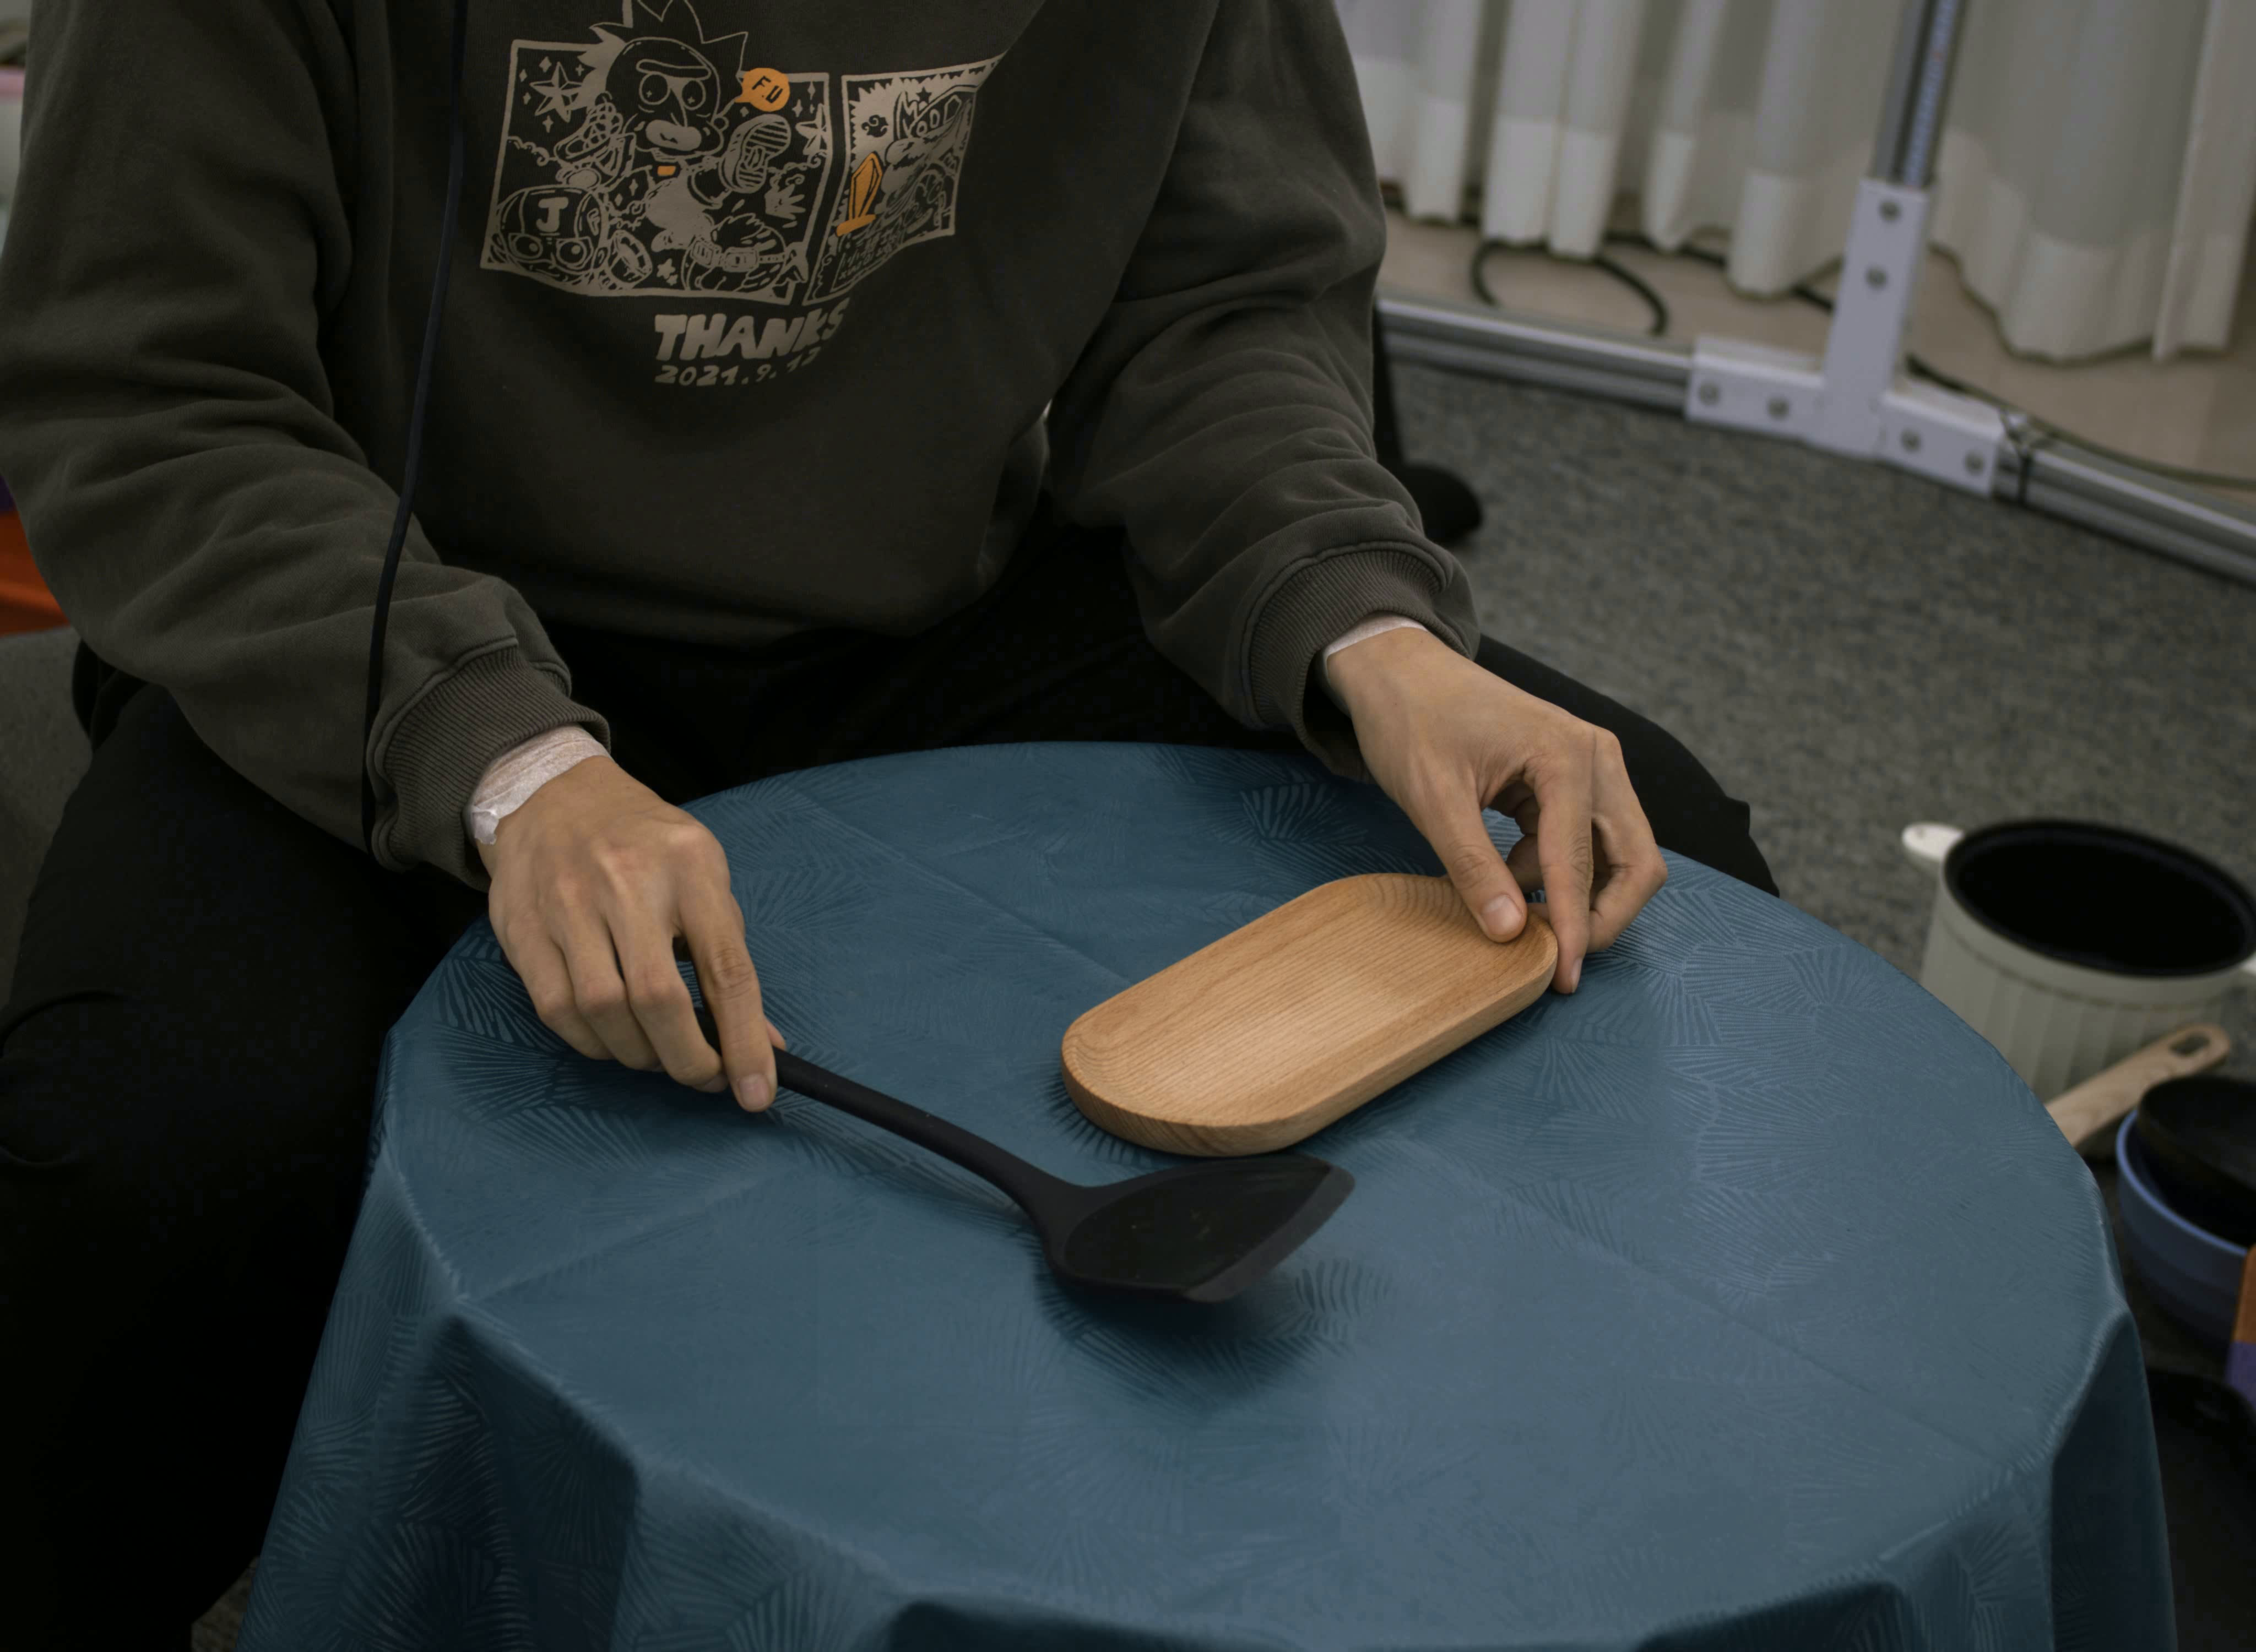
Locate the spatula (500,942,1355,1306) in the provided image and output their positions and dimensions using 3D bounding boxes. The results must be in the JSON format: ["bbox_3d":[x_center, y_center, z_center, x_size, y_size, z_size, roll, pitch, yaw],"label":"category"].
[{"bbox_3d":[-0.081,0.092,1.798,0.328,0.040,0.099,24,33,25],"label":"spatula"}]

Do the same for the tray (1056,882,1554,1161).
[{"bbox_3d":[0.065,0.069,1.908,0.102,0.020,0.230,21,31,33],"label":"tray"}]
